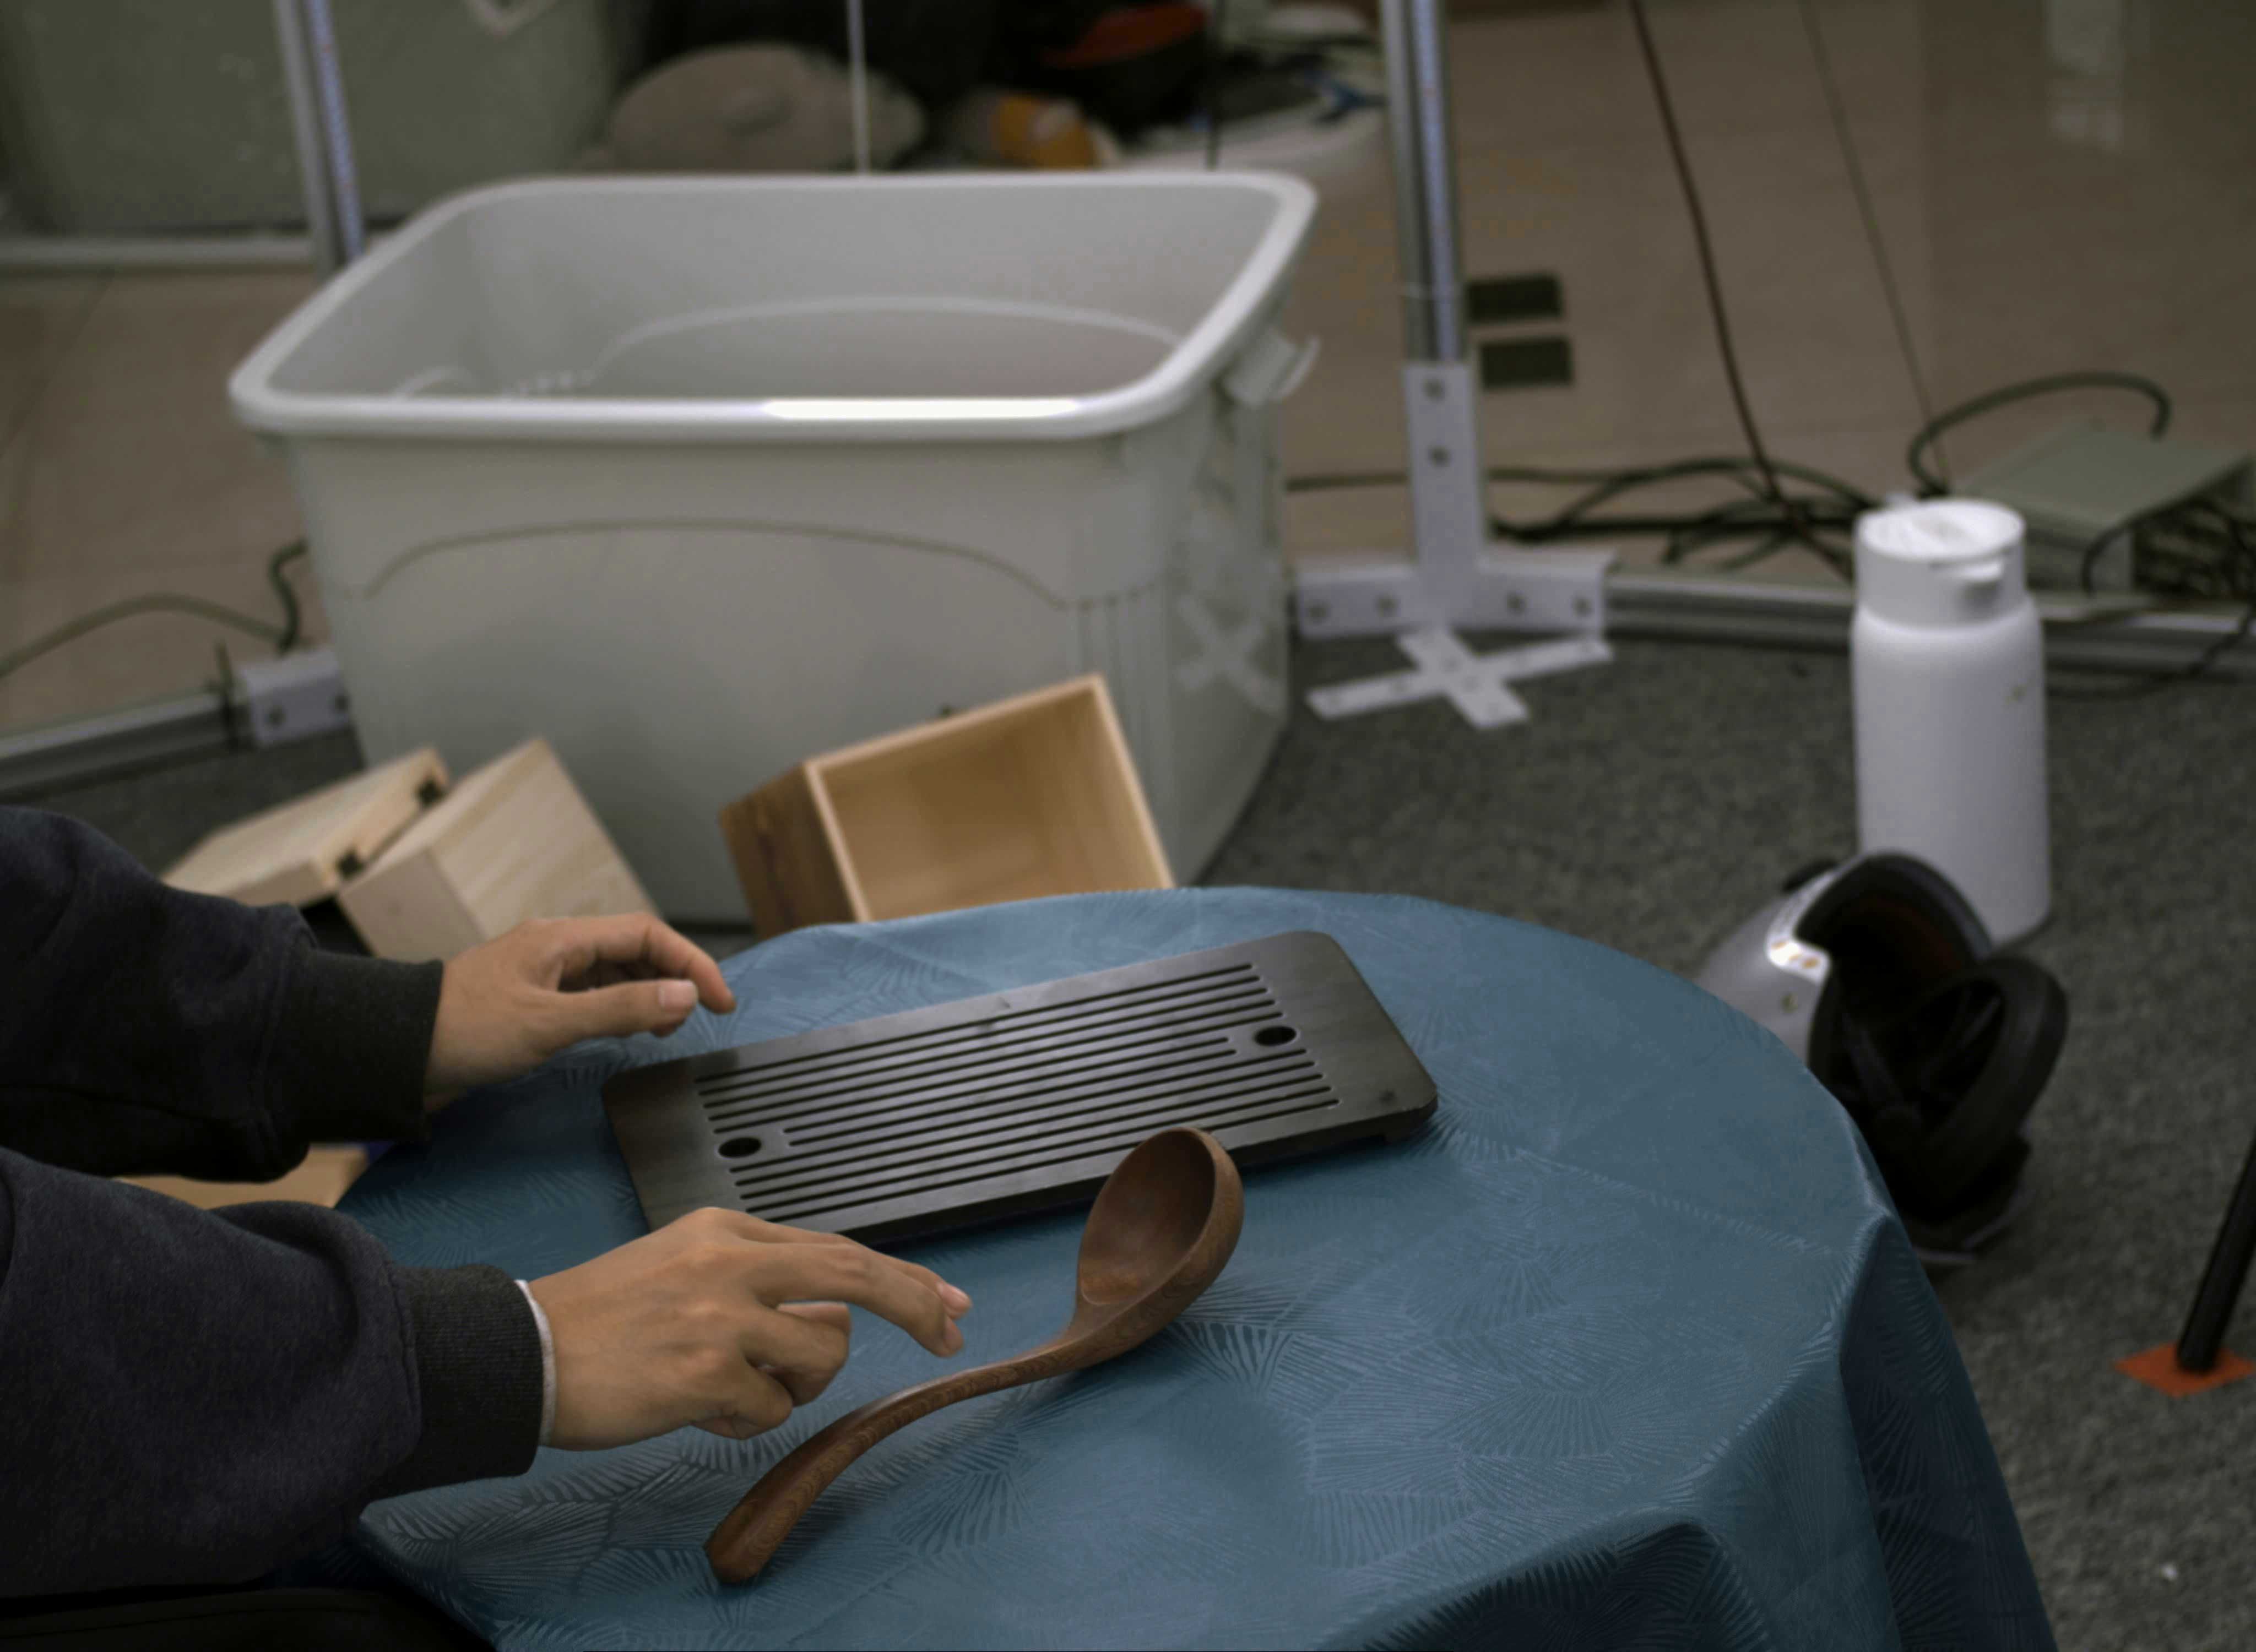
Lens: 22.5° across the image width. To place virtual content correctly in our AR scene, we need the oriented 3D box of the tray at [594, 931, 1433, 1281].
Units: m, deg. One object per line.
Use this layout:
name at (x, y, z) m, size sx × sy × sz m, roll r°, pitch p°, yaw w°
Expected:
tray at (-0.047, 0.108, 2.204) m, size 0.305 × 0.019 × 0.168 m, roll -11°, pitch 25°, yaw -10°

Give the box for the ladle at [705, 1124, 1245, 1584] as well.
ladle at (-0.058, 0.182, 1.993) m, size 0.258 × 0.065 × 0.077 m, roll -27°, pitch 7°, yaw -36°
